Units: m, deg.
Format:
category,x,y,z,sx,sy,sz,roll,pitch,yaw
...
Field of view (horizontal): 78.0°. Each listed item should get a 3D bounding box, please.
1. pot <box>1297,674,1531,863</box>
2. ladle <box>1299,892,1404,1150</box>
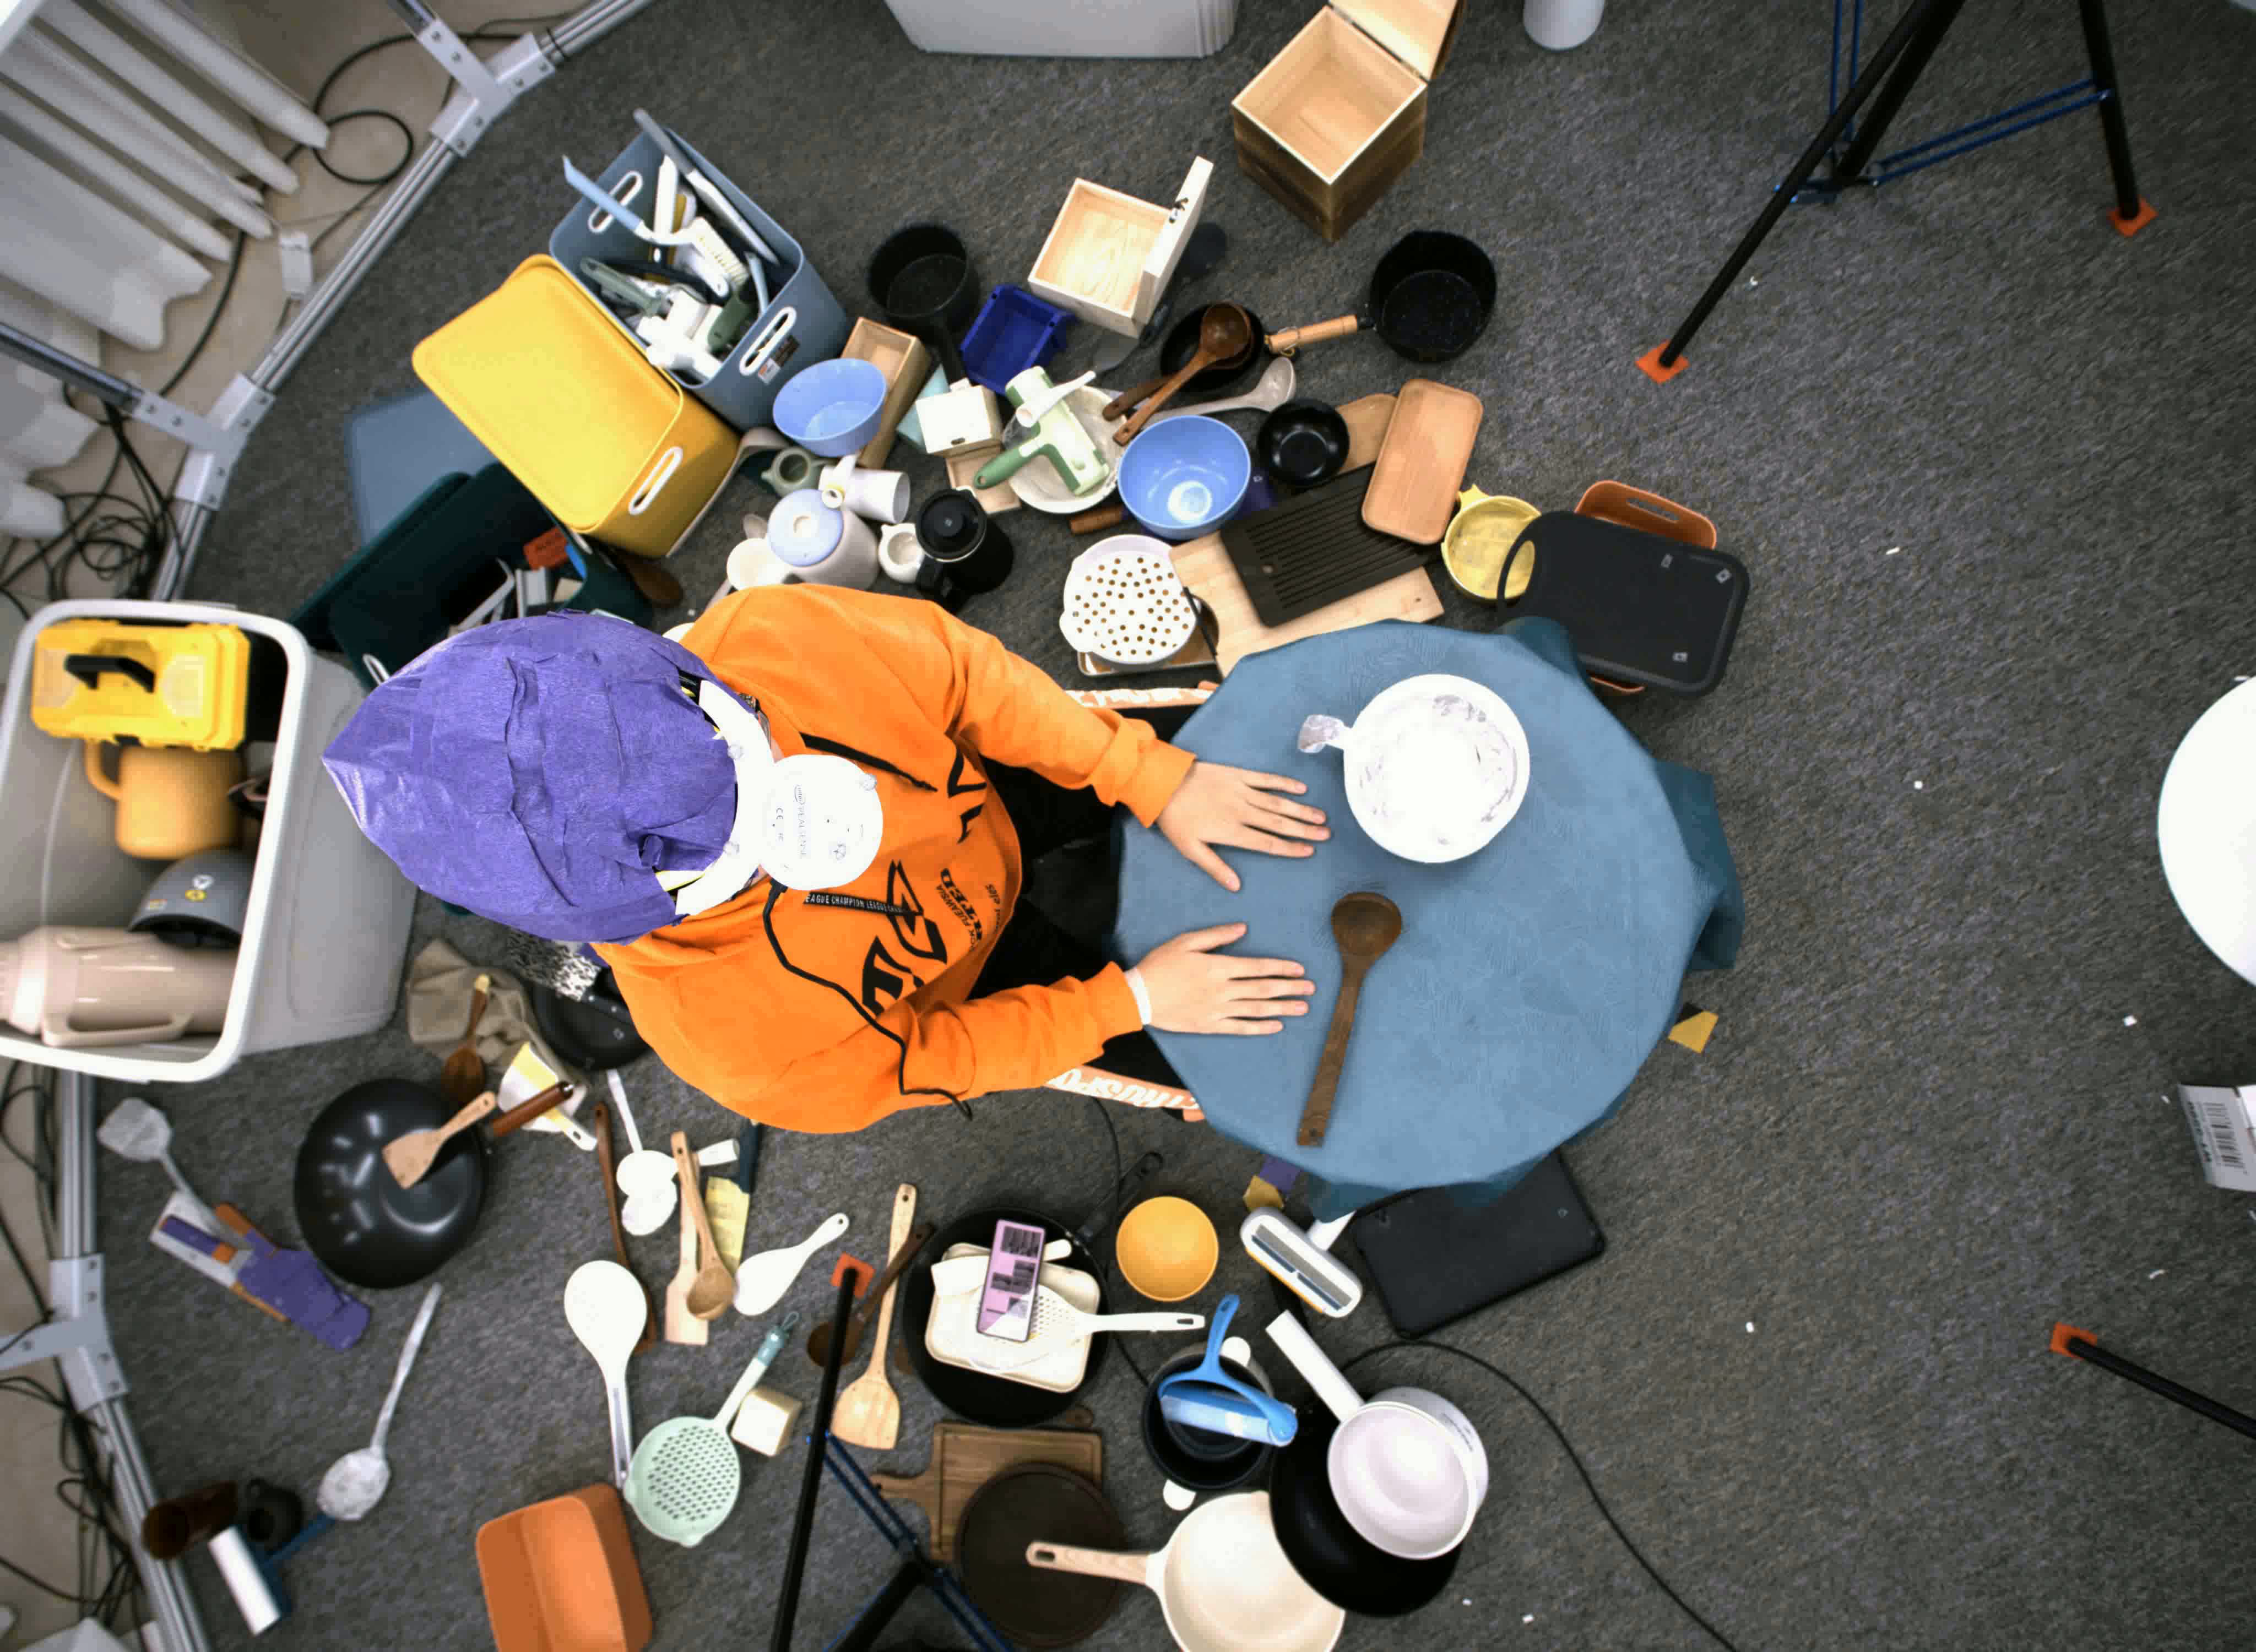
category,x,y,z,sx,sy,sz,roll,pitch,yaw
pot,0.283,-0.064,1.395,0.234,0.137,0.178,19,89,11
ladle,0.220,0.201,1.427,0.076,0.071,0.273,15,89,14
